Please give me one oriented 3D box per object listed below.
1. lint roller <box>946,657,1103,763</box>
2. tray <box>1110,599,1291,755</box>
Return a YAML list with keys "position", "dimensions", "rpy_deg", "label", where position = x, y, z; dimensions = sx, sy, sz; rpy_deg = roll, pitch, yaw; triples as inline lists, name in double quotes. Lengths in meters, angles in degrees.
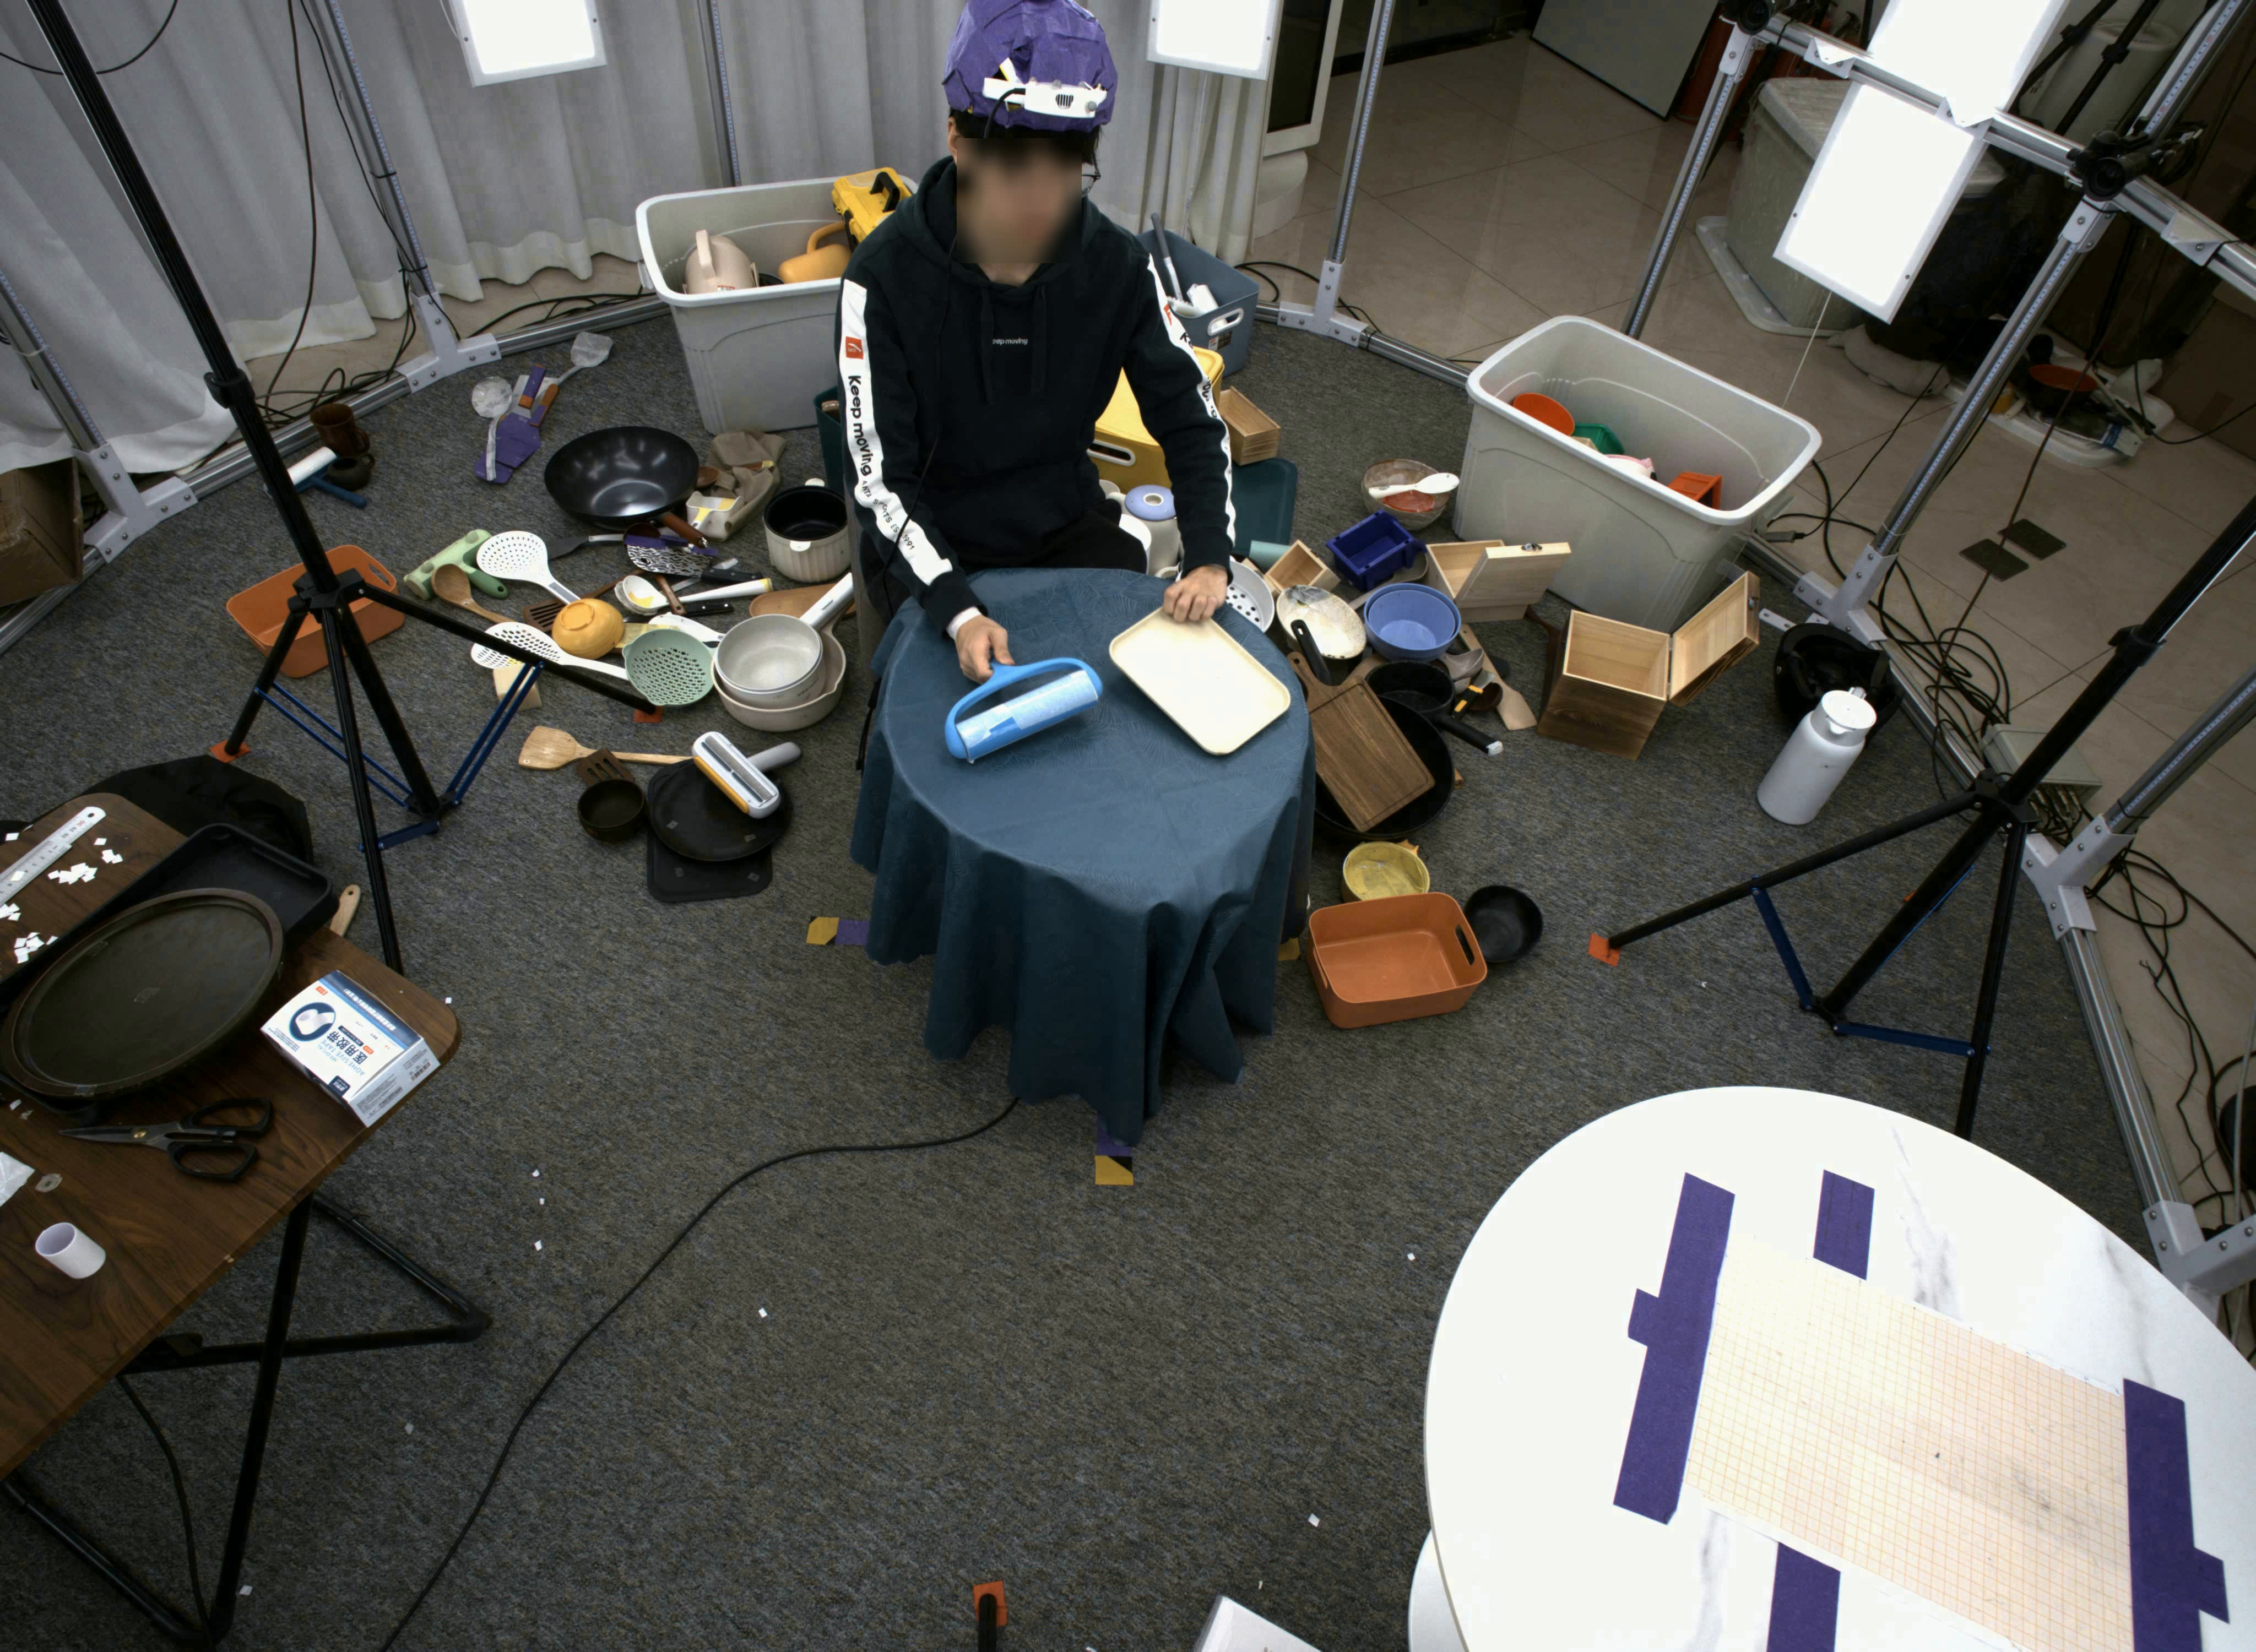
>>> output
- position: [-0.167, -0.189, 1.770]
  dimensions: [0.229, 0.066, 0.184]
  rpy_deg: [-29, 53, -13]
  label: "lint roller"
- position: [0.101, -0.212, 1.817]
  dimensions: [0.173, 0.017, 0.242]
  rpy_deg: [-37, 72, -28]
  label: "tray"
